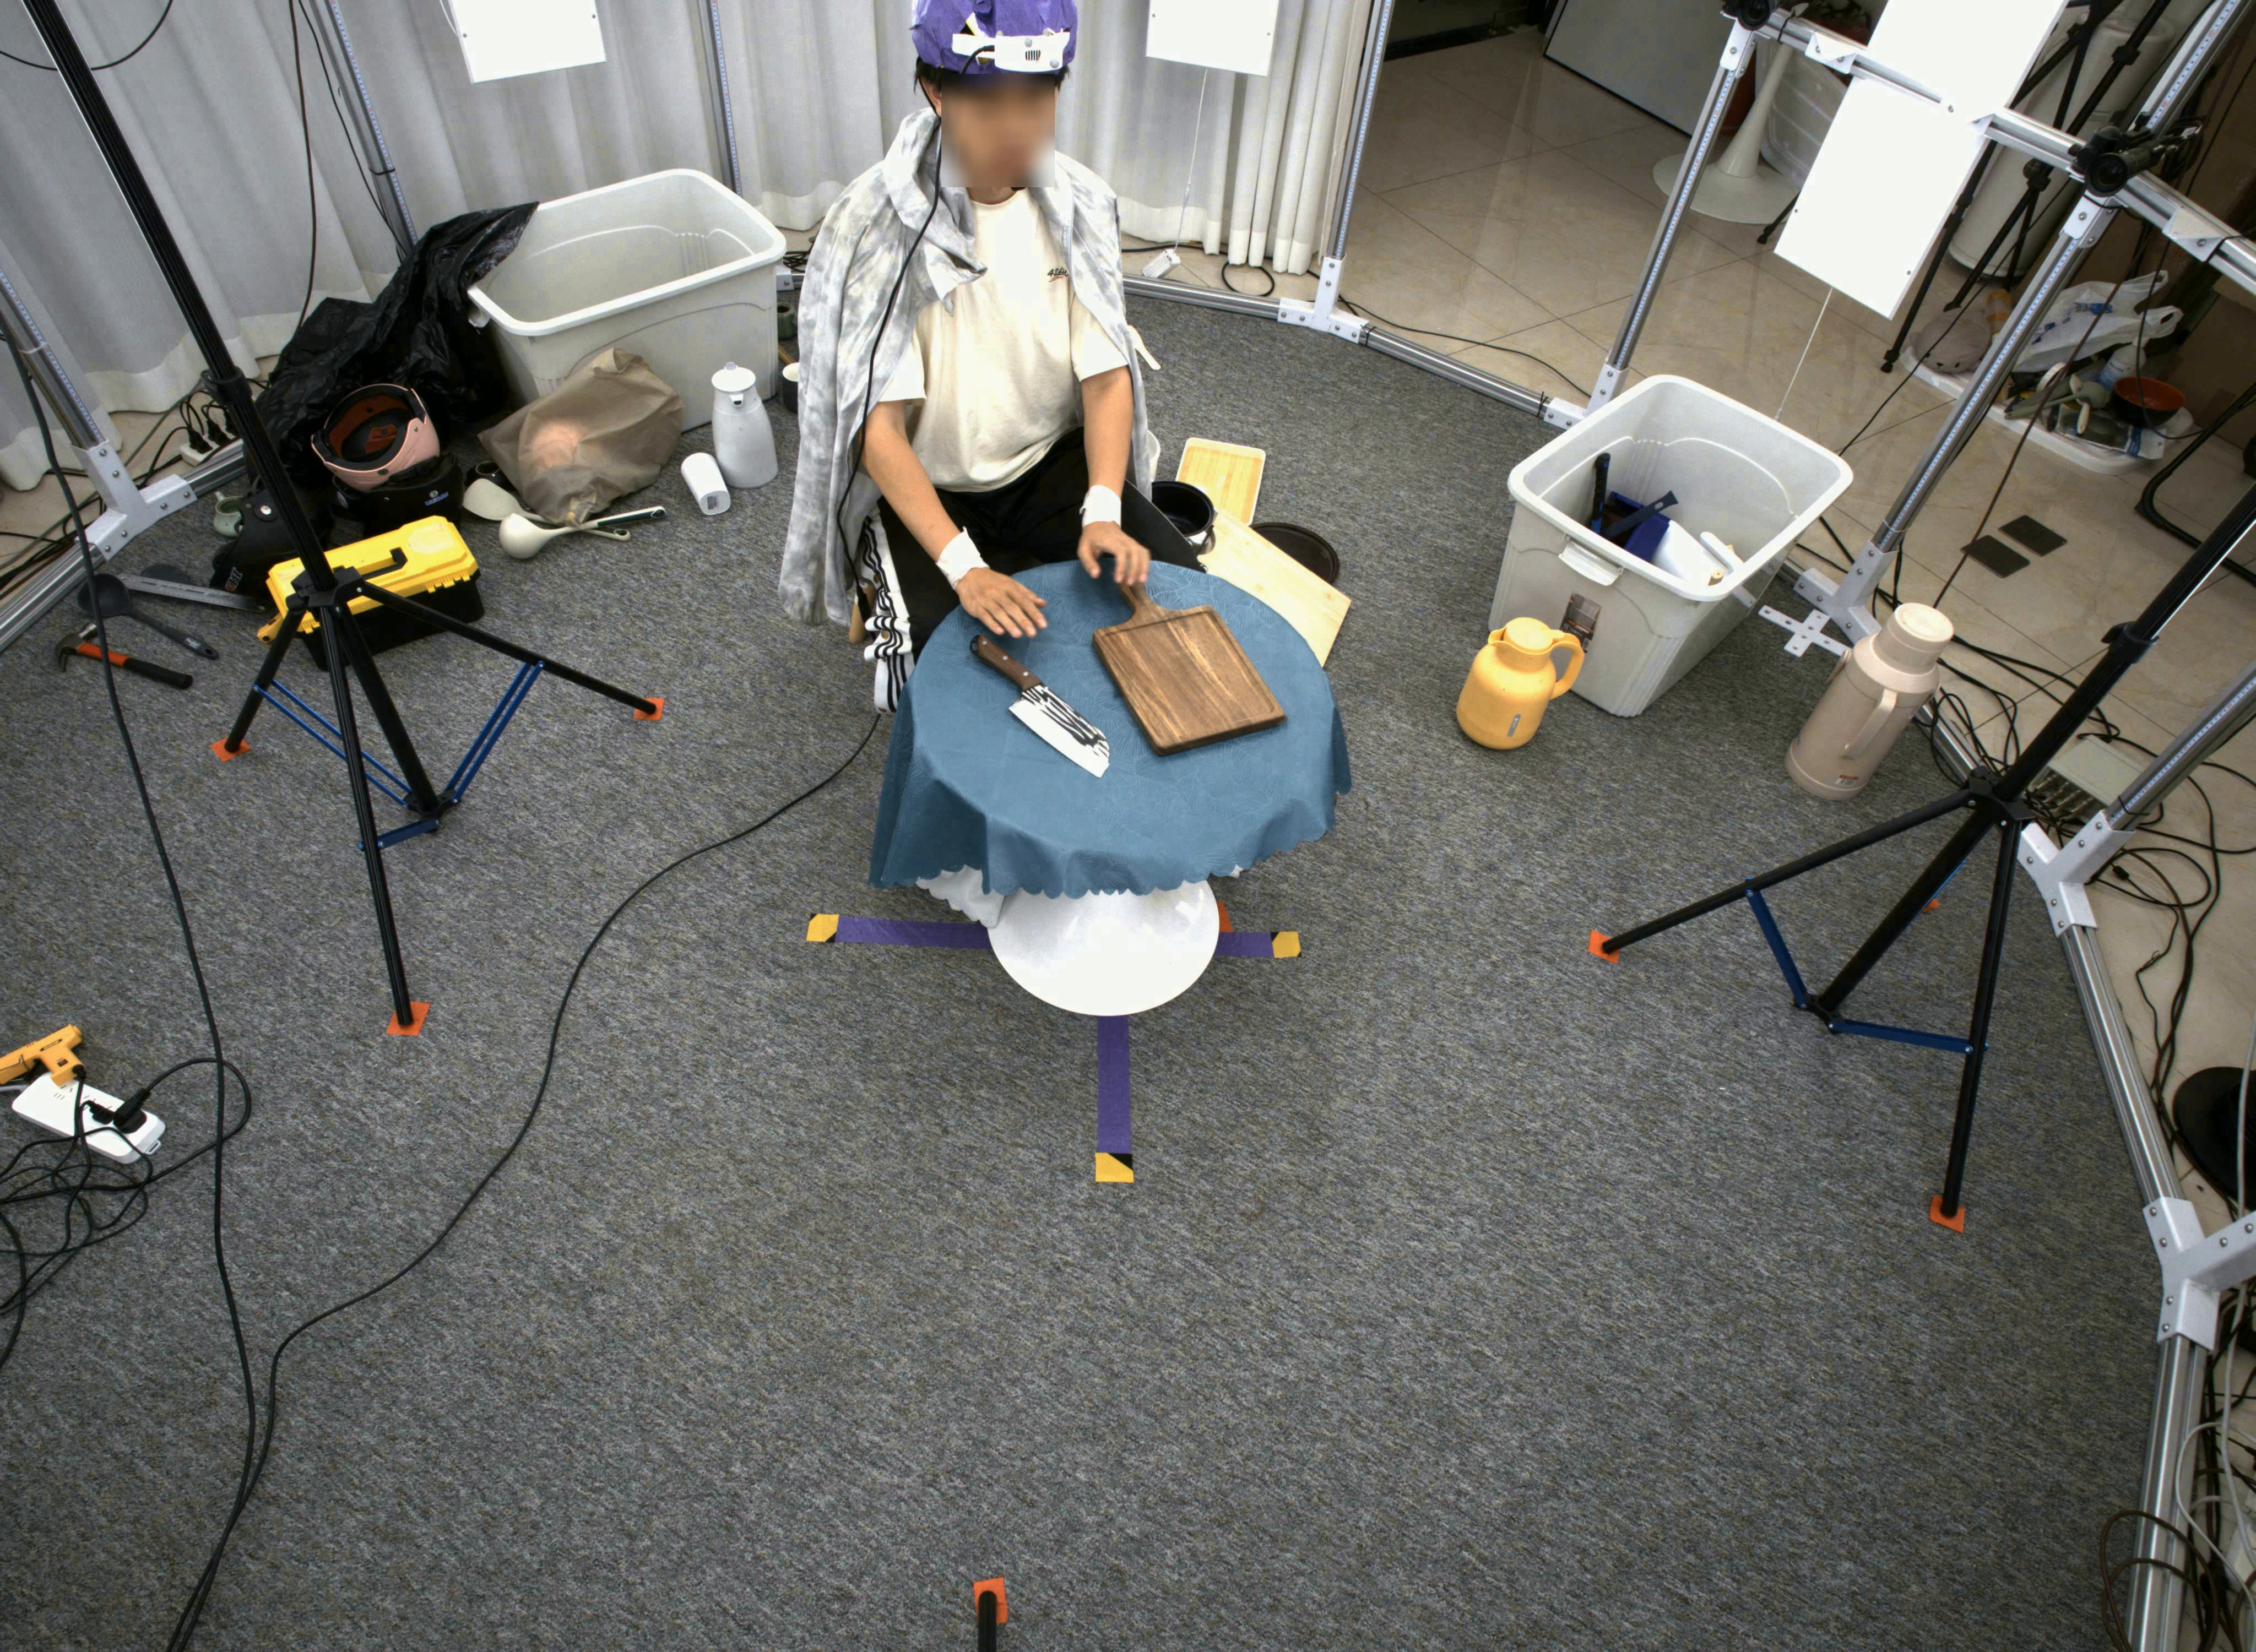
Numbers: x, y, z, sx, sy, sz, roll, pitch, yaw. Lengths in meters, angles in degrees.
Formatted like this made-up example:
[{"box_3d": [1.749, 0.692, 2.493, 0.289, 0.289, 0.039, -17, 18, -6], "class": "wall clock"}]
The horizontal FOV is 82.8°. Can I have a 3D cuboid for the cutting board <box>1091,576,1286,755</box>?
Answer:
[{"box_3d": [0.064, -0.252, 1.871, 0.201, 0.022, 0.360, -16, 51, -17], "class": "cutting board"}]

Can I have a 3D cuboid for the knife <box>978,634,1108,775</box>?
[{"box_3d": [-0.126, -0.171, 1.788, 0.068, 0.023, 0.304, -35, 62, -27], "class": "knife"}]
